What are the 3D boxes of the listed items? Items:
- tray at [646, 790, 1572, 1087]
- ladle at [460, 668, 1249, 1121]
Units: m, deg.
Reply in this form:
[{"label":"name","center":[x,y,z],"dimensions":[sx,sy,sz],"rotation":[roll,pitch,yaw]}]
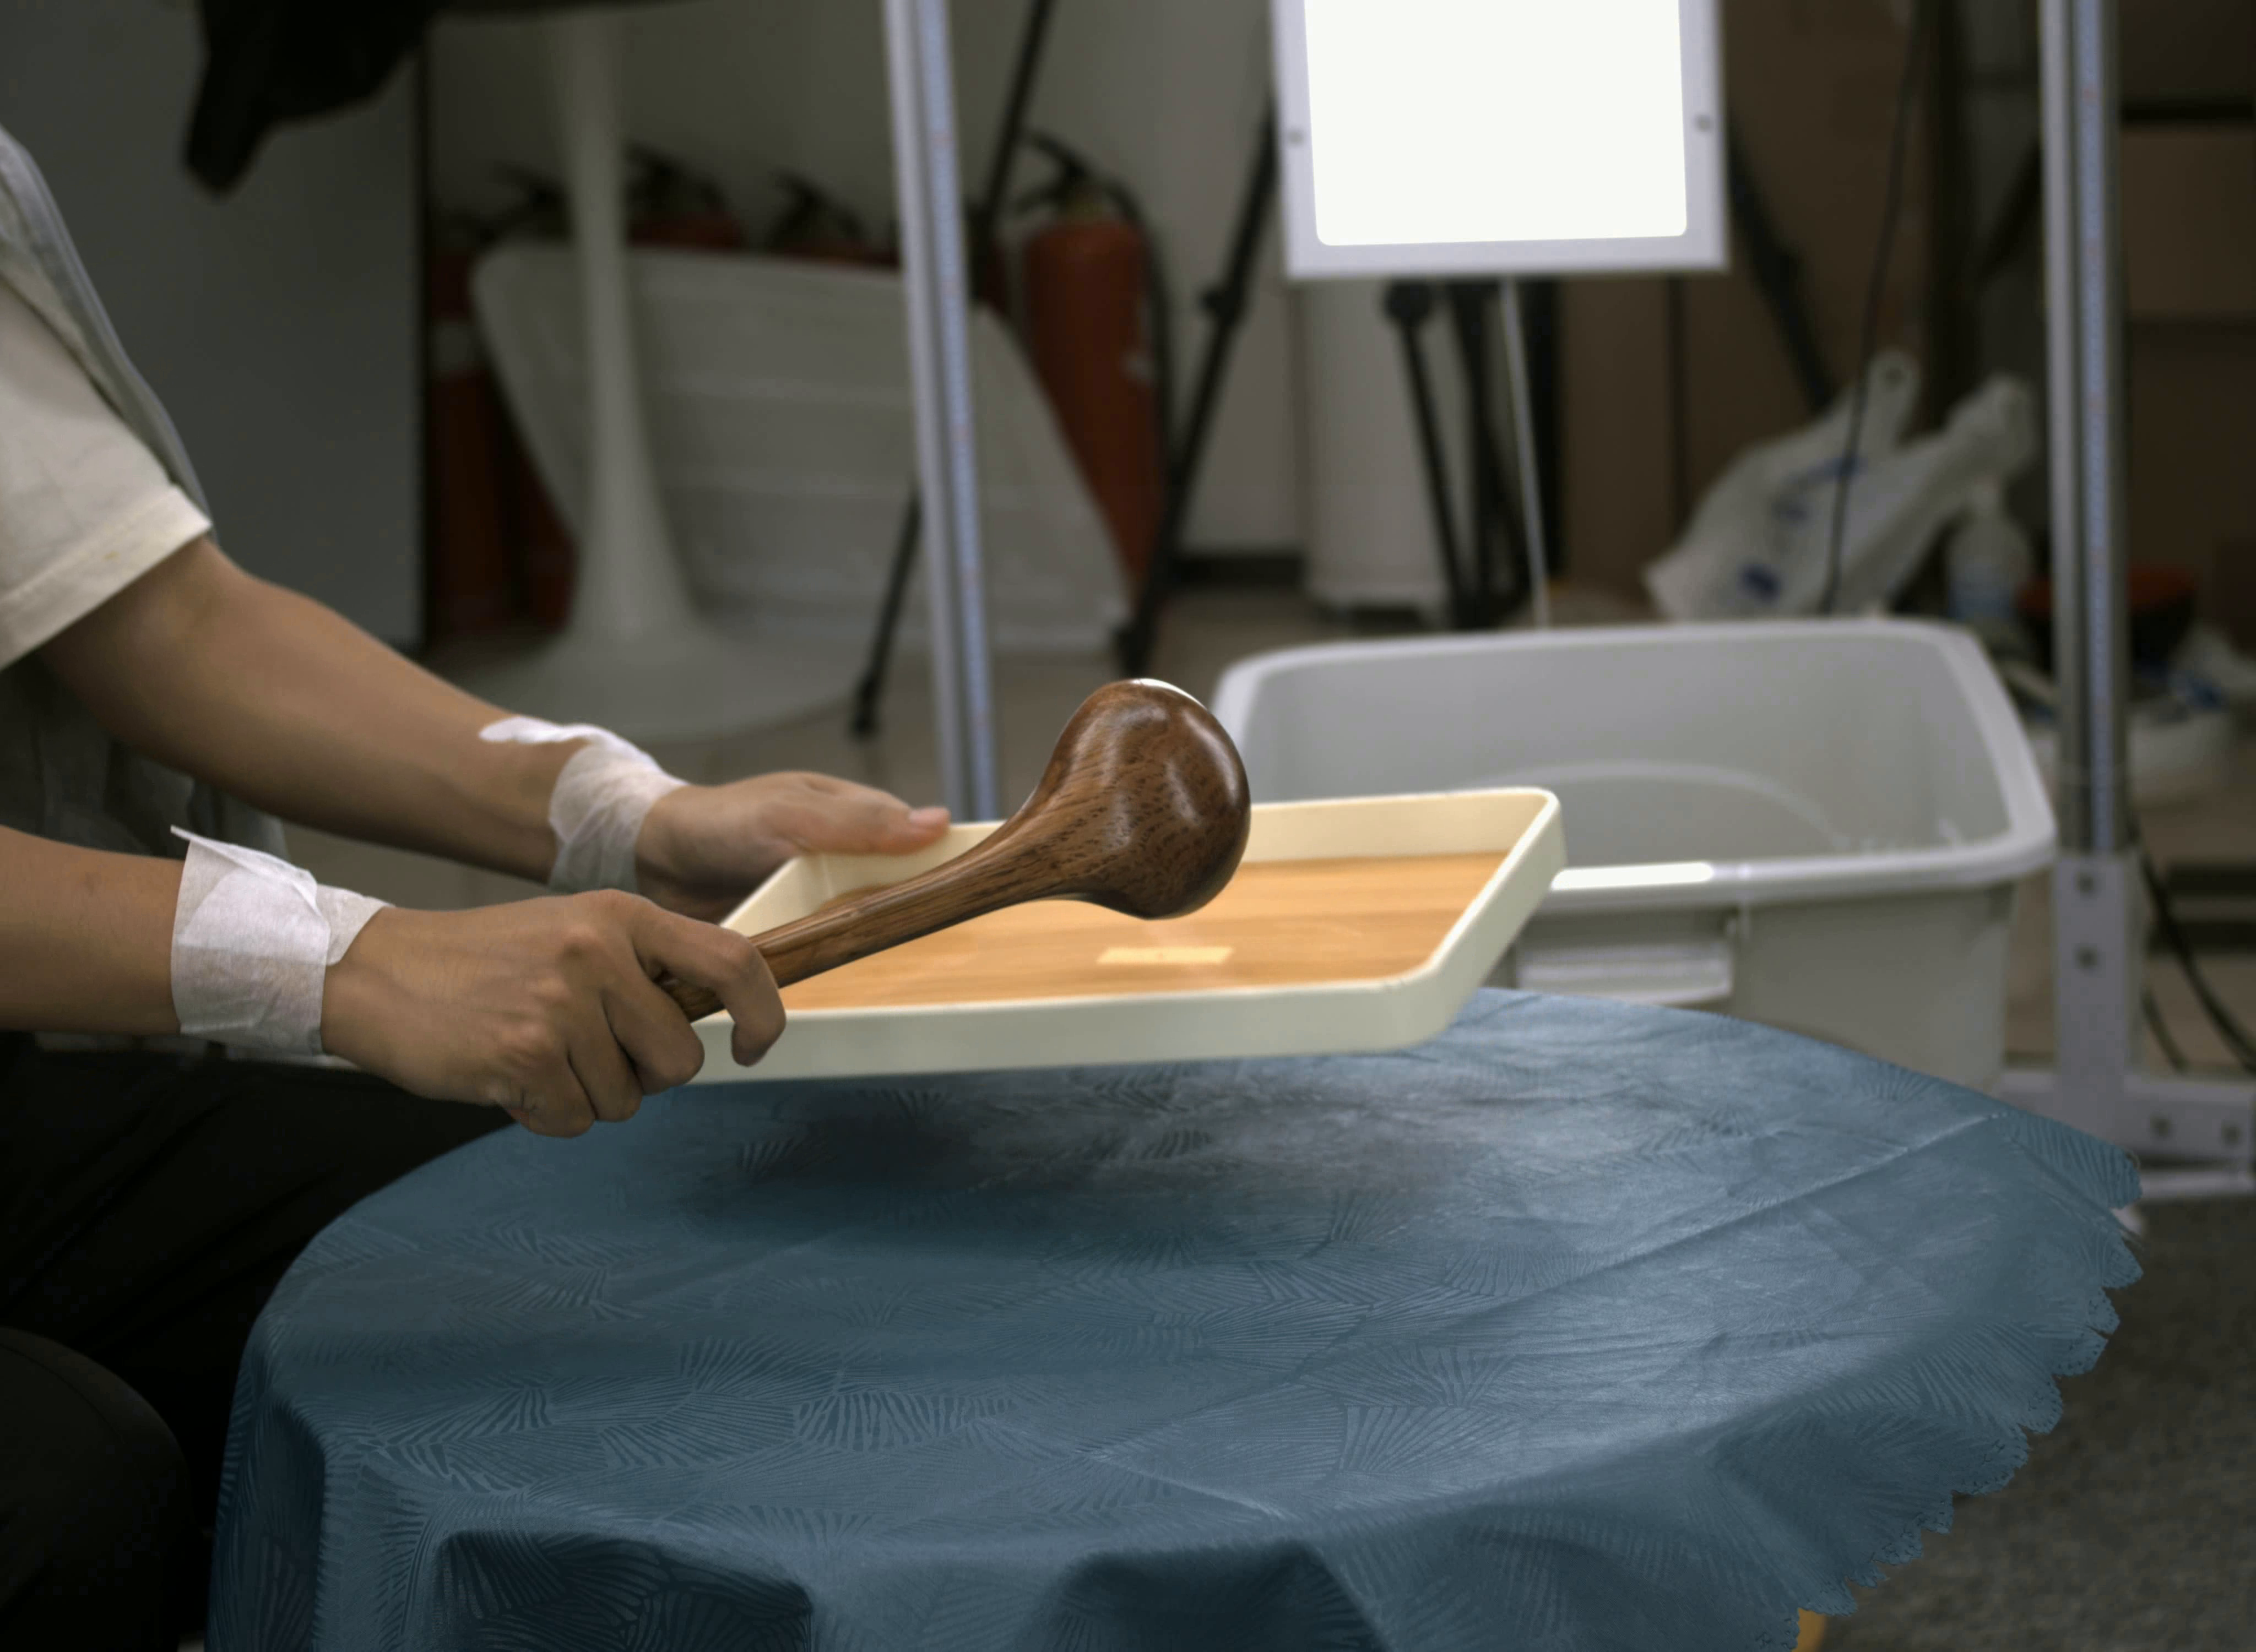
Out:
[{"label":"tray","center":[-0.006,0.040,1.950],"dimensions":[0.305,0.027,0.188],"rotation":[-4,20,24]},{"label":"ladle","center":[-0.090,0.028,1.815],"dimensions":[0.275,0.082,0.076],"rotation":[-23,2,6]}]
